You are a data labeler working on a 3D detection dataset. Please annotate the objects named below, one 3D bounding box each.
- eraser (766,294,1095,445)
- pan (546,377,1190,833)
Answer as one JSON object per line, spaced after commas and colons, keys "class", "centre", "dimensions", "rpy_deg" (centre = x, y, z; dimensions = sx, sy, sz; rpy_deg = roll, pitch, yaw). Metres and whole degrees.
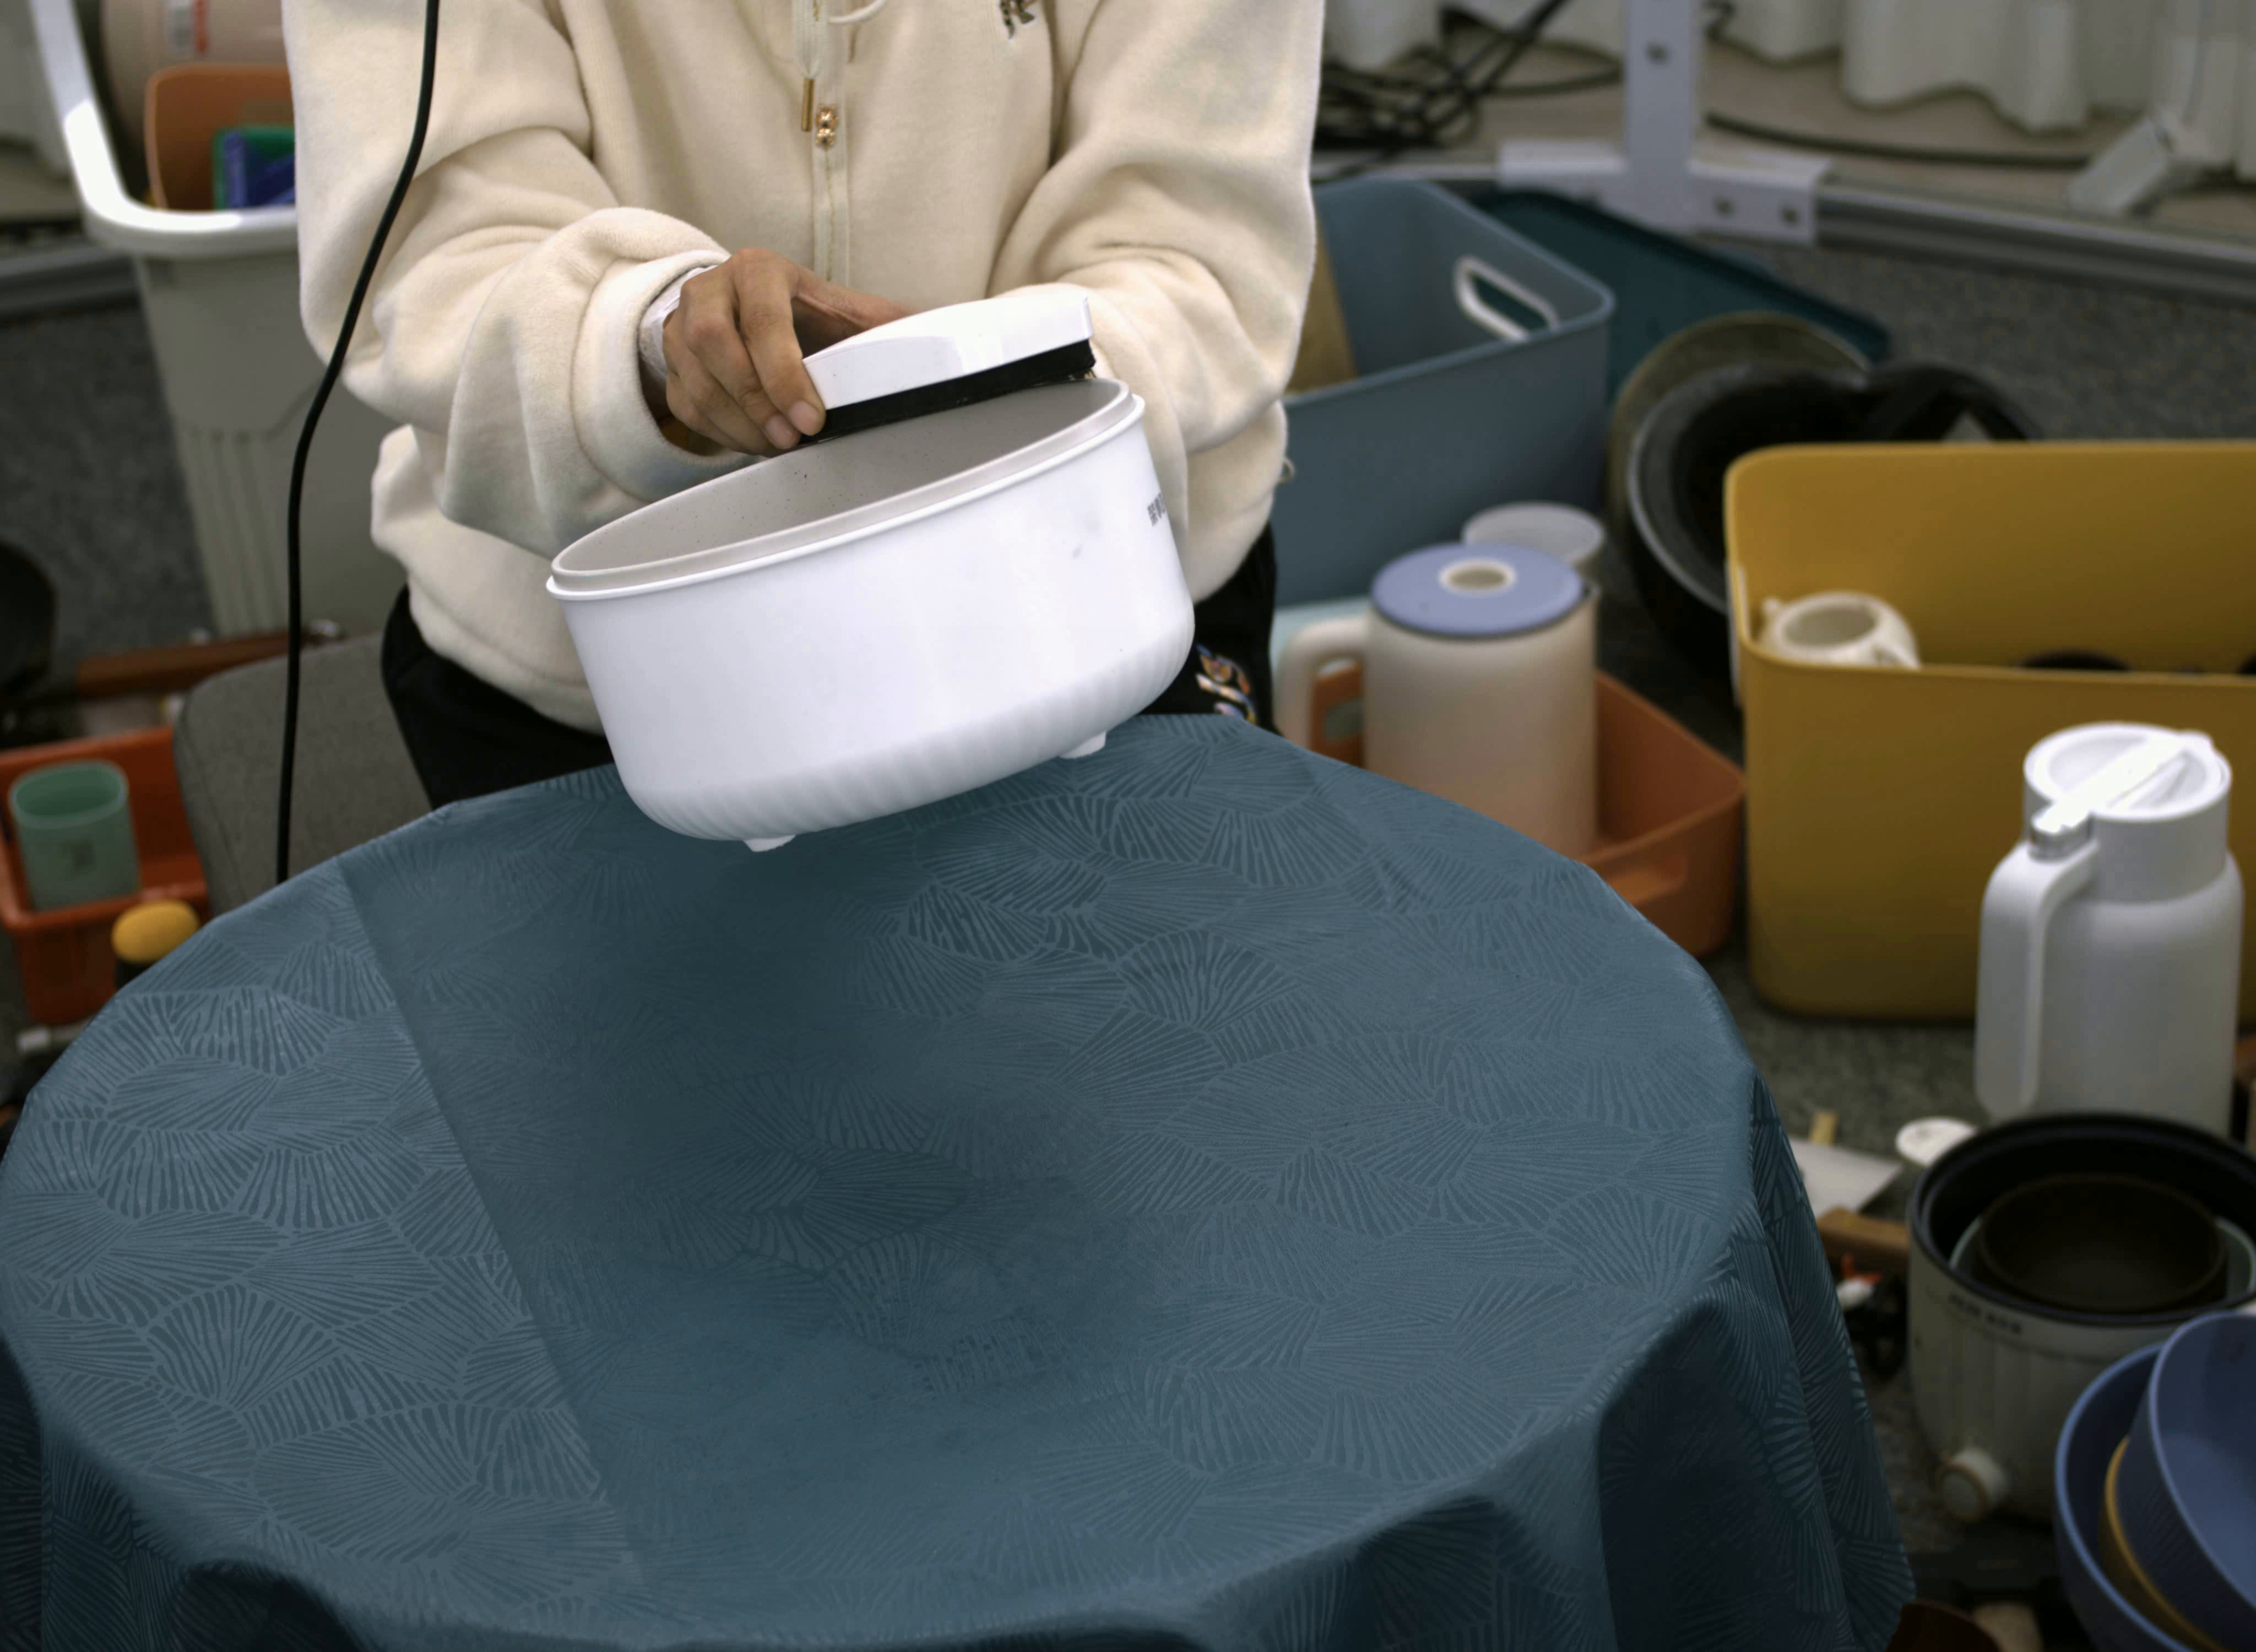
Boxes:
{"class": "eraser", "centre": [-0.065, -0.155, 1.885], "dimensions": [0.064, 0.034, 0.130], "rpy_deg": [-18, 5, -35]}
{"class": "pan", "centre": [-0.079, -0.083, 1.895], "dimensions": [0.200, 0.102, 0.356], "rpy_deg": [-15, 9, 3]}
